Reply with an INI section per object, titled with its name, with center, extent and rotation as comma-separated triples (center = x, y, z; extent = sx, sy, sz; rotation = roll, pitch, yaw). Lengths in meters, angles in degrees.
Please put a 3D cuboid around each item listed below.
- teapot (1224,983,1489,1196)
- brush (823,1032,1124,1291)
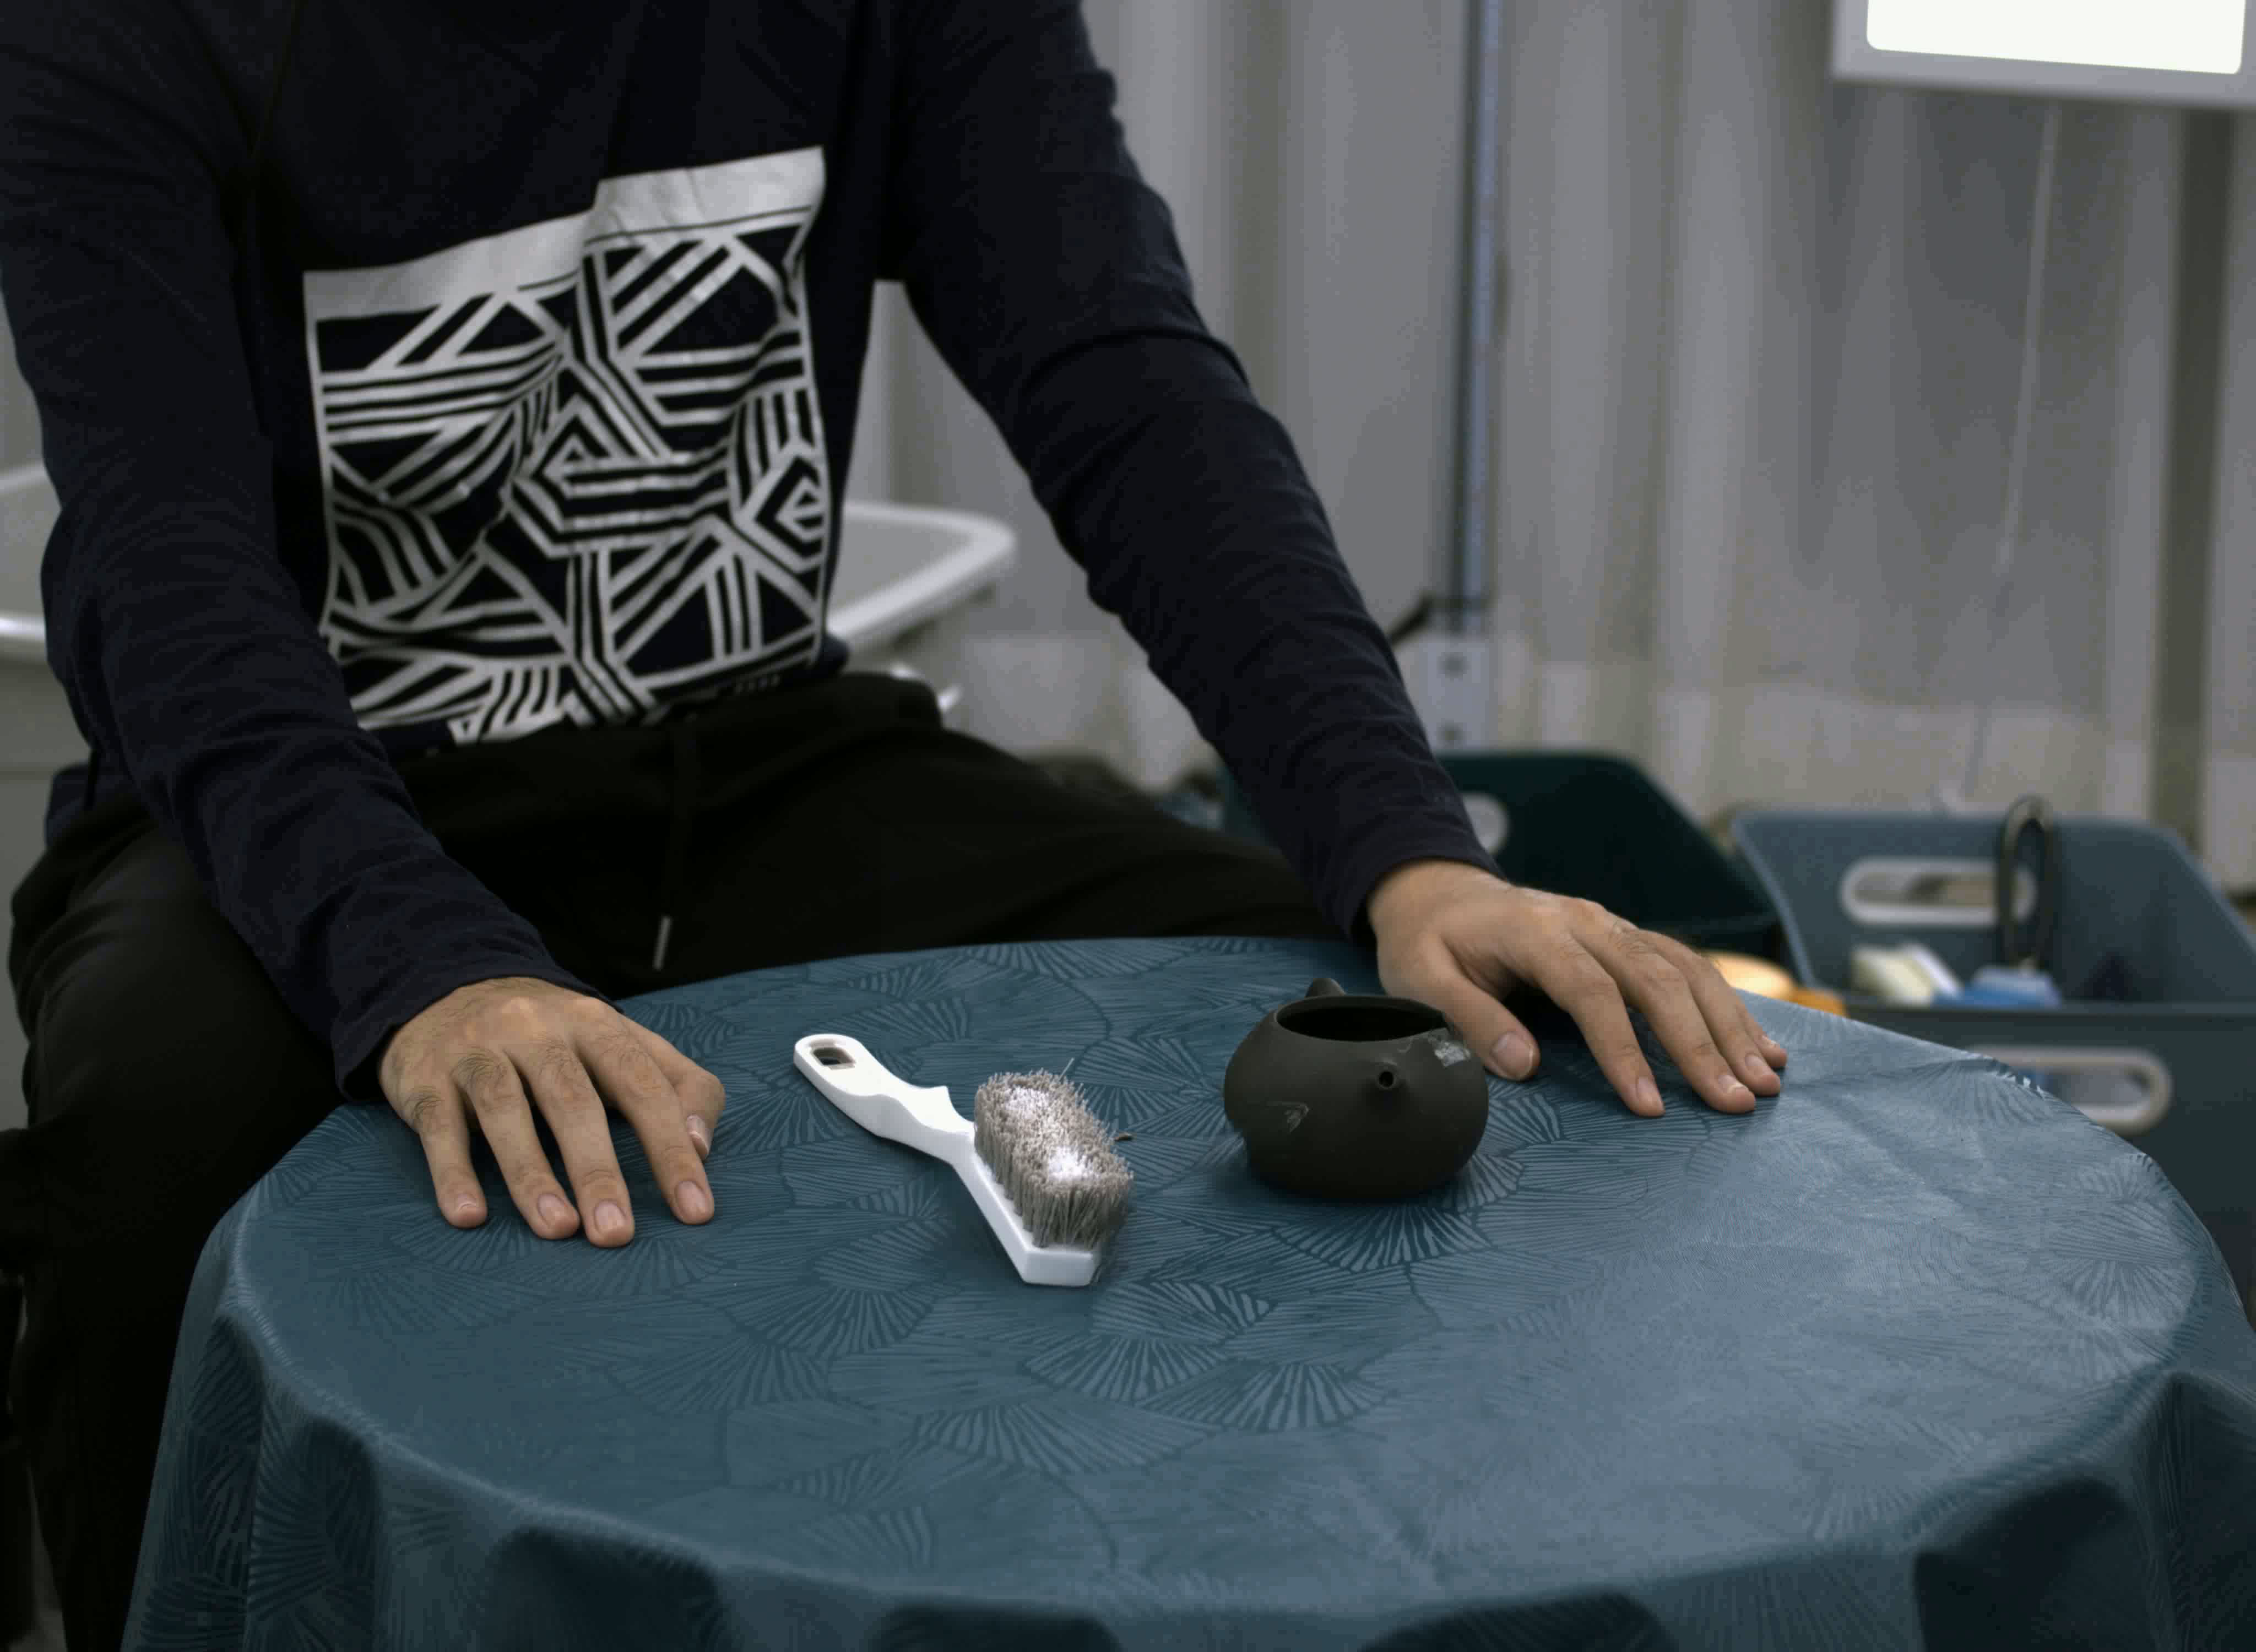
[teapot]
center = 0.069, 0.080, 1.650
extent = 0.083, 0.053, 0.113
rotation = -3, 16, -8
[brush]
center = -0.054, 0.084, 1.636
extent = 0.034, 0.050, 0.241
rotation = -9, 18, -18
